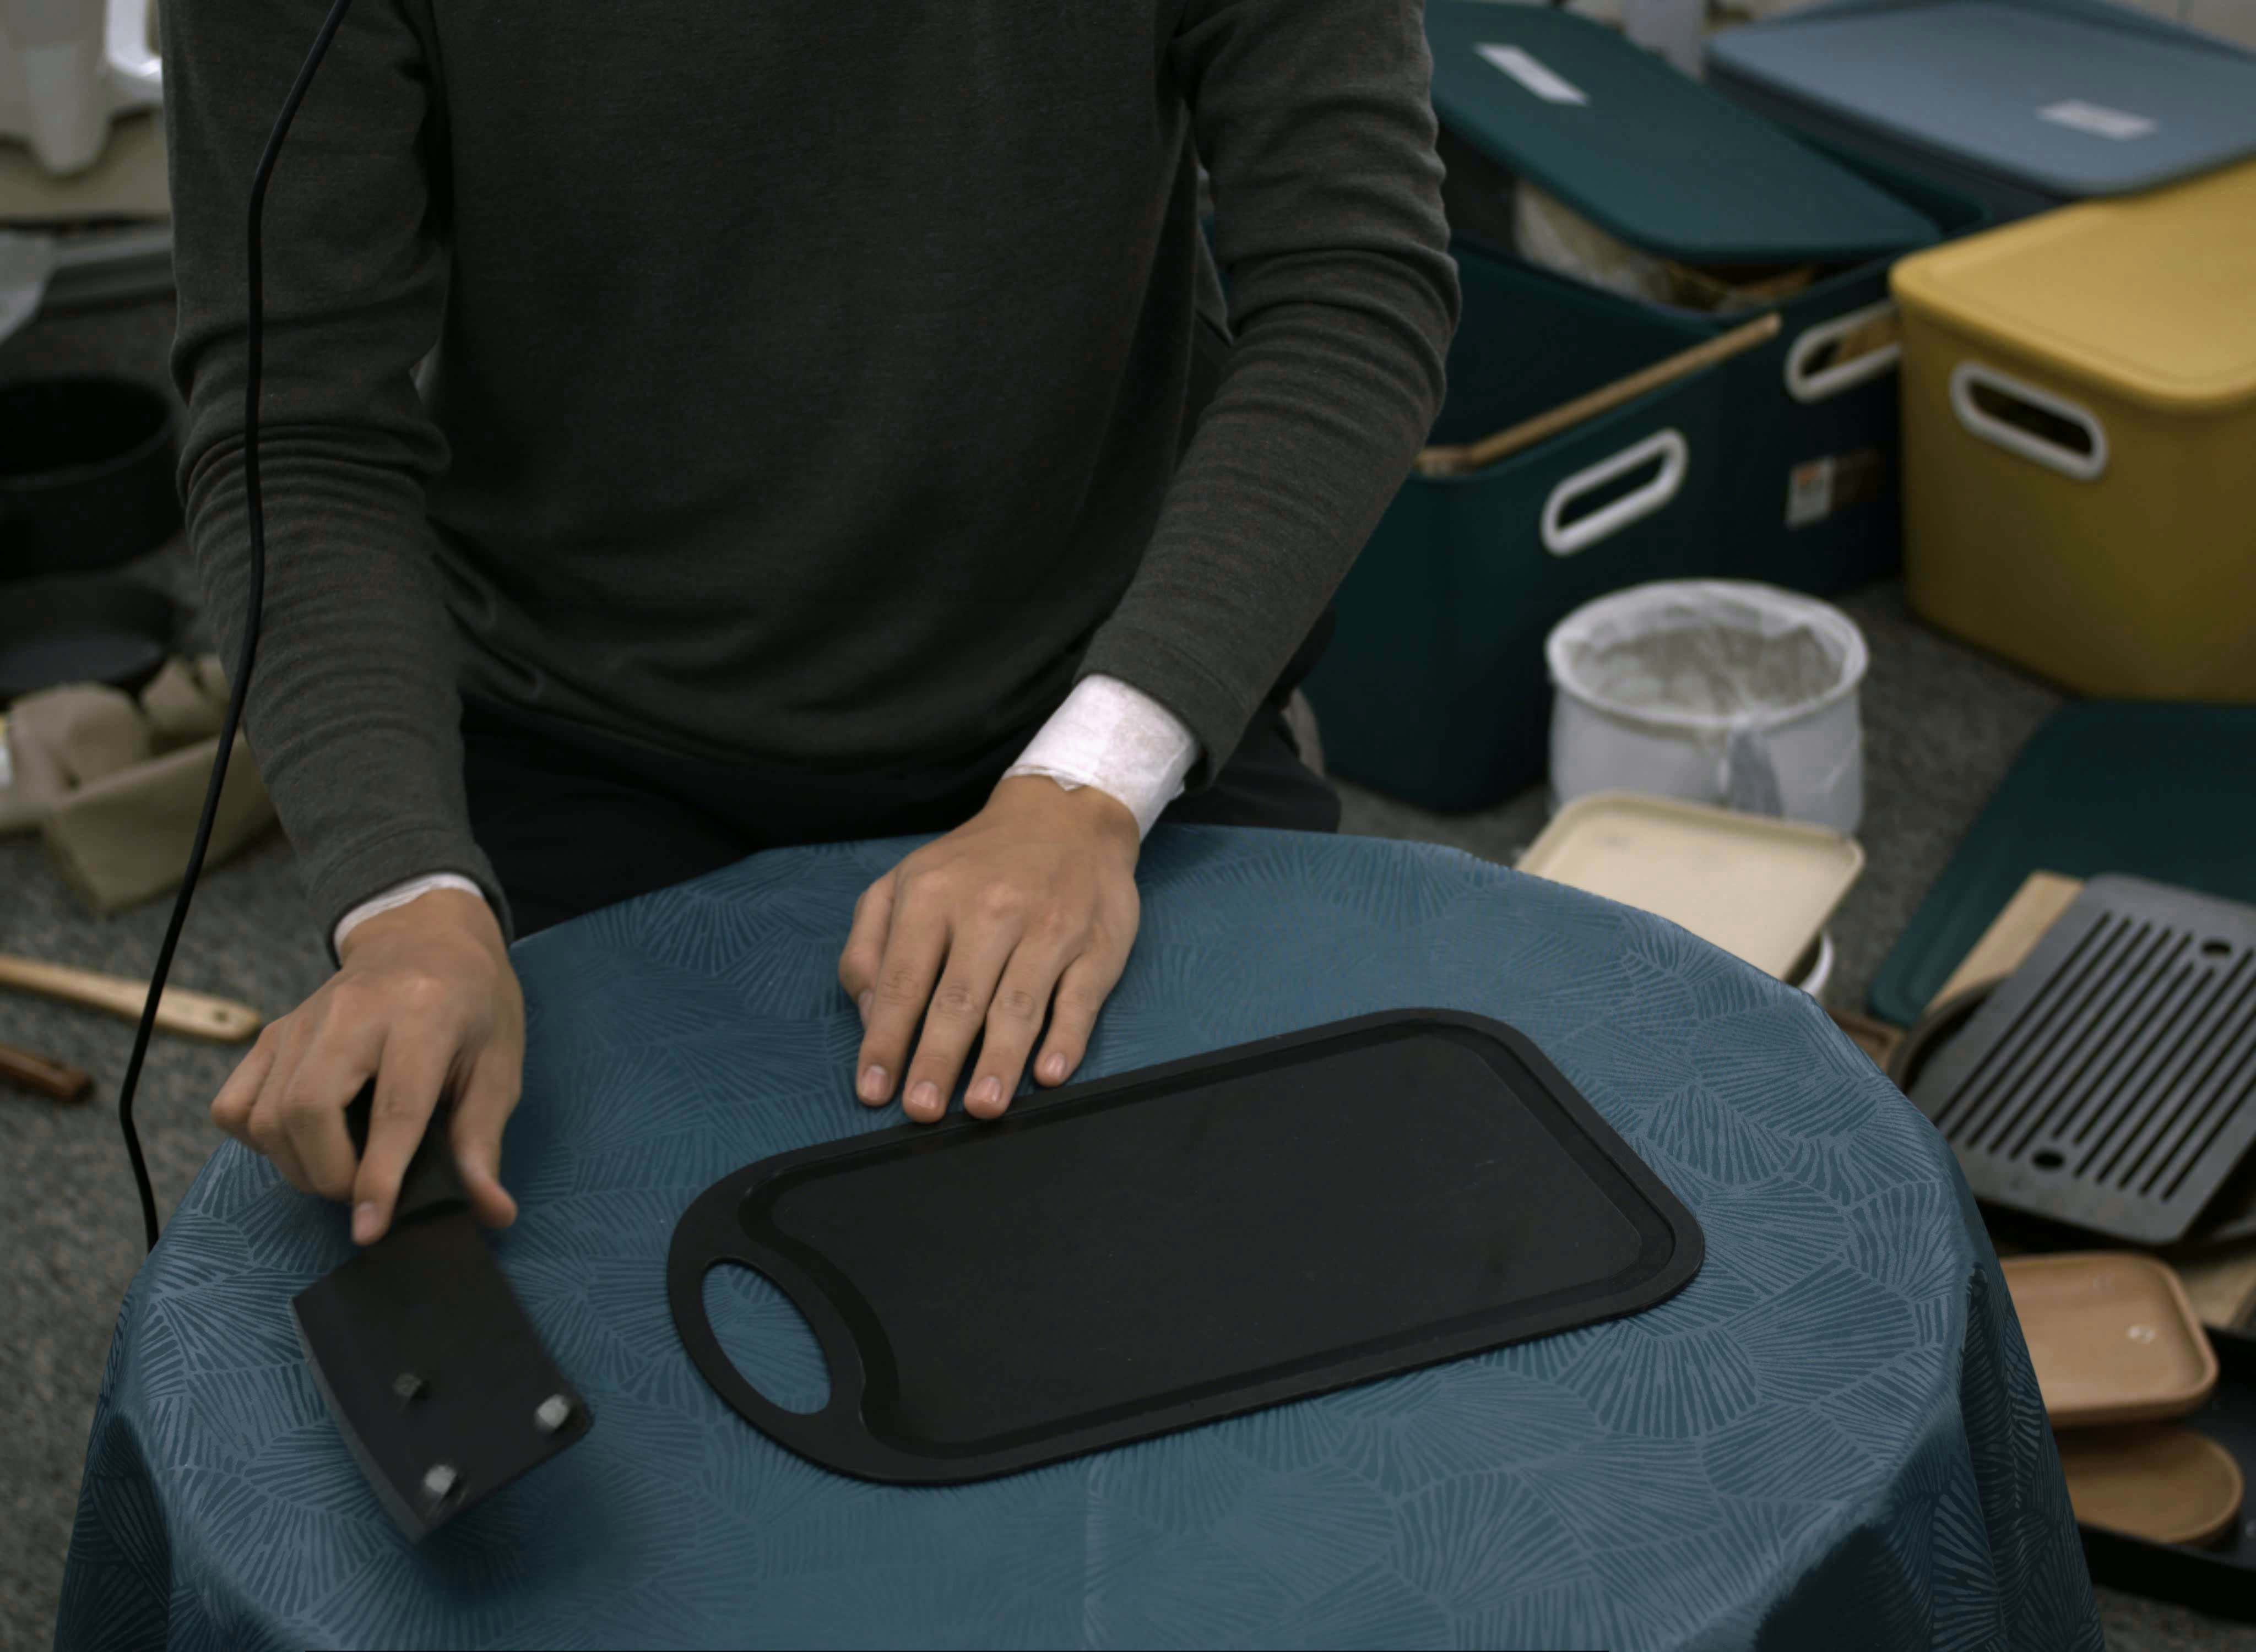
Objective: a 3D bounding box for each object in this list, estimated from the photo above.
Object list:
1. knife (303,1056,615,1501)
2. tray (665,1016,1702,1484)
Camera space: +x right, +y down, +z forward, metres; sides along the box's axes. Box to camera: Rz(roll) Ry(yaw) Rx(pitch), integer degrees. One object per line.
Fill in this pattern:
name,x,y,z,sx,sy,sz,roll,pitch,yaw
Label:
knife,-0.226,0.139,1.782,0.081,0.020,0.304,-28,25,-6
tray,0.011,0.134,1.829,0.326,0.009,0.213,-12,28,-17
